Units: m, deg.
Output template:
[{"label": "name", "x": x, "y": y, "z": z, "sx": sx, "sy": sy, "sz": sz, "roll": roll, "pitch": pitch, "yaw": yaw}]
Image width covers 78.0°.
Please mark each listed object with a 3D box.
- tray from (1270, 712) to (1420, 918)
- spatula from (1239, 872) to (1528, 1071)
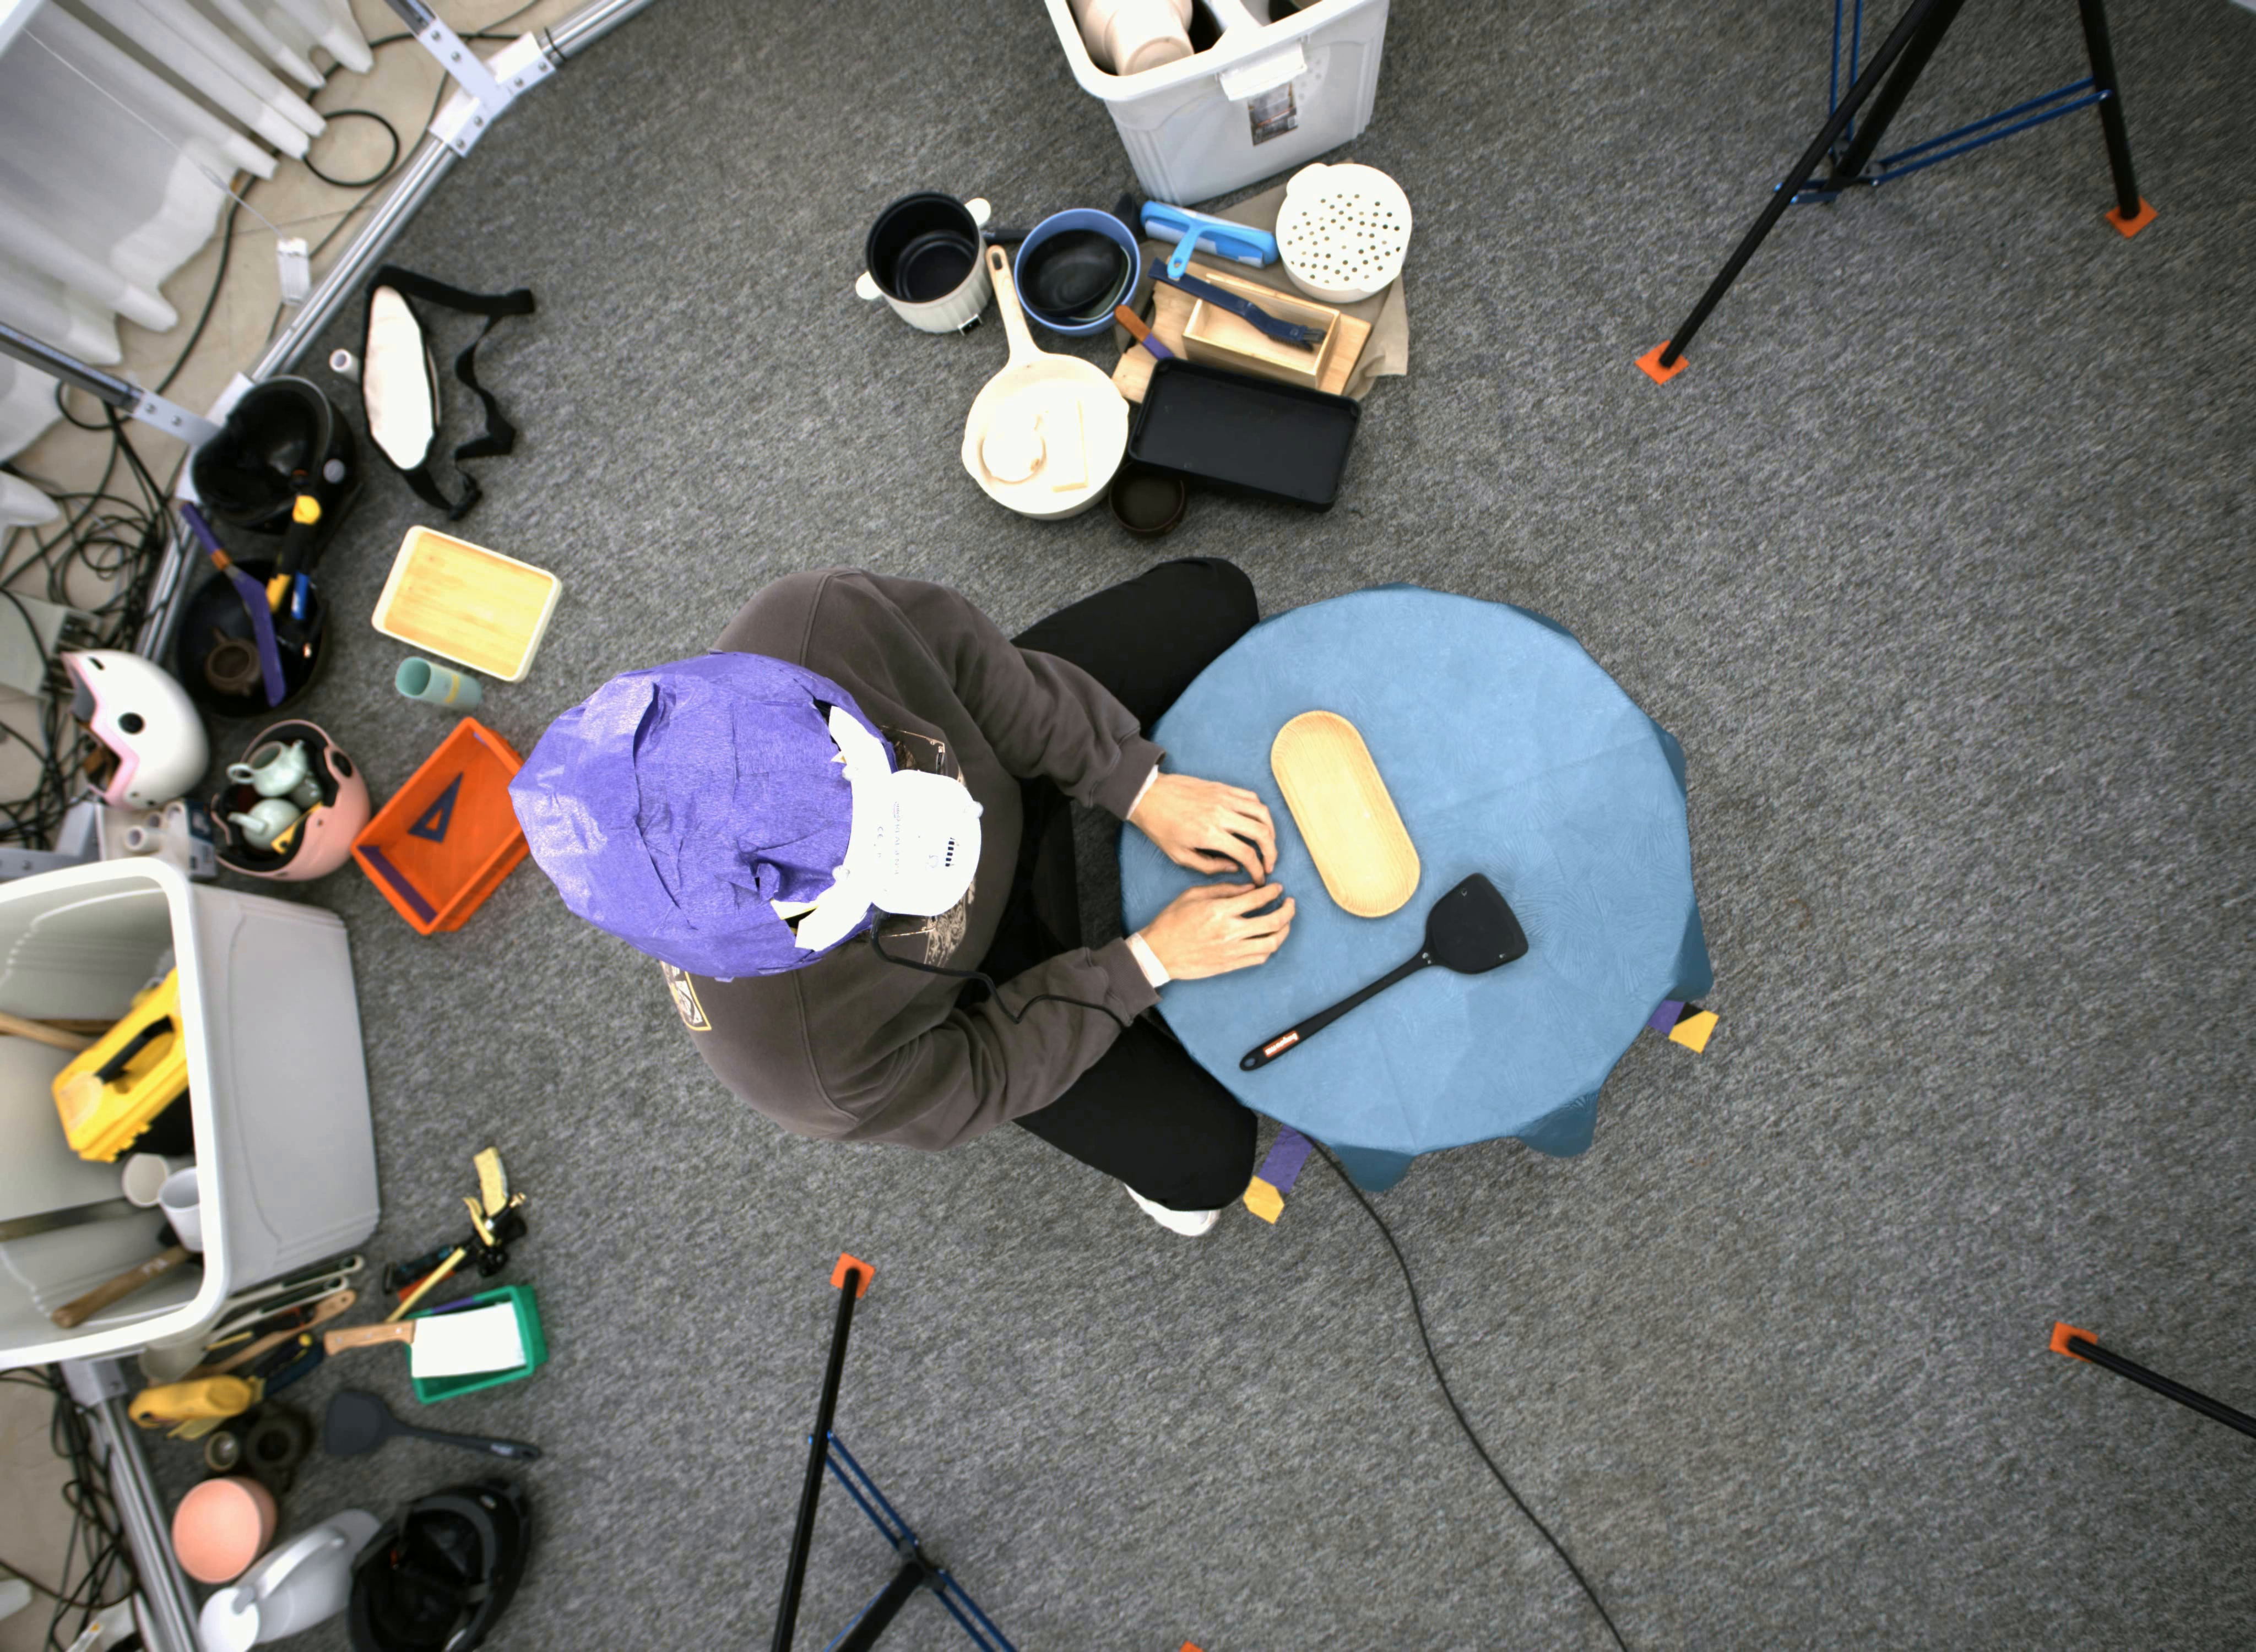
[{"label": "tray", "x": 0.229, "y": -0.013, "z": 1.461, "sx": 0.102, "sy": 0.020, "sz": 0.230, "roll": -25, "pitch": 84, "yaw": 9}, {"label": "spatula", "x": 0.253, "y": 0.168, "z": 1.437, "sx": 0.328, "sy": 0.040, "sz": 0.099, "roll": -32, "pitch": 81, "yaw": 7}]
